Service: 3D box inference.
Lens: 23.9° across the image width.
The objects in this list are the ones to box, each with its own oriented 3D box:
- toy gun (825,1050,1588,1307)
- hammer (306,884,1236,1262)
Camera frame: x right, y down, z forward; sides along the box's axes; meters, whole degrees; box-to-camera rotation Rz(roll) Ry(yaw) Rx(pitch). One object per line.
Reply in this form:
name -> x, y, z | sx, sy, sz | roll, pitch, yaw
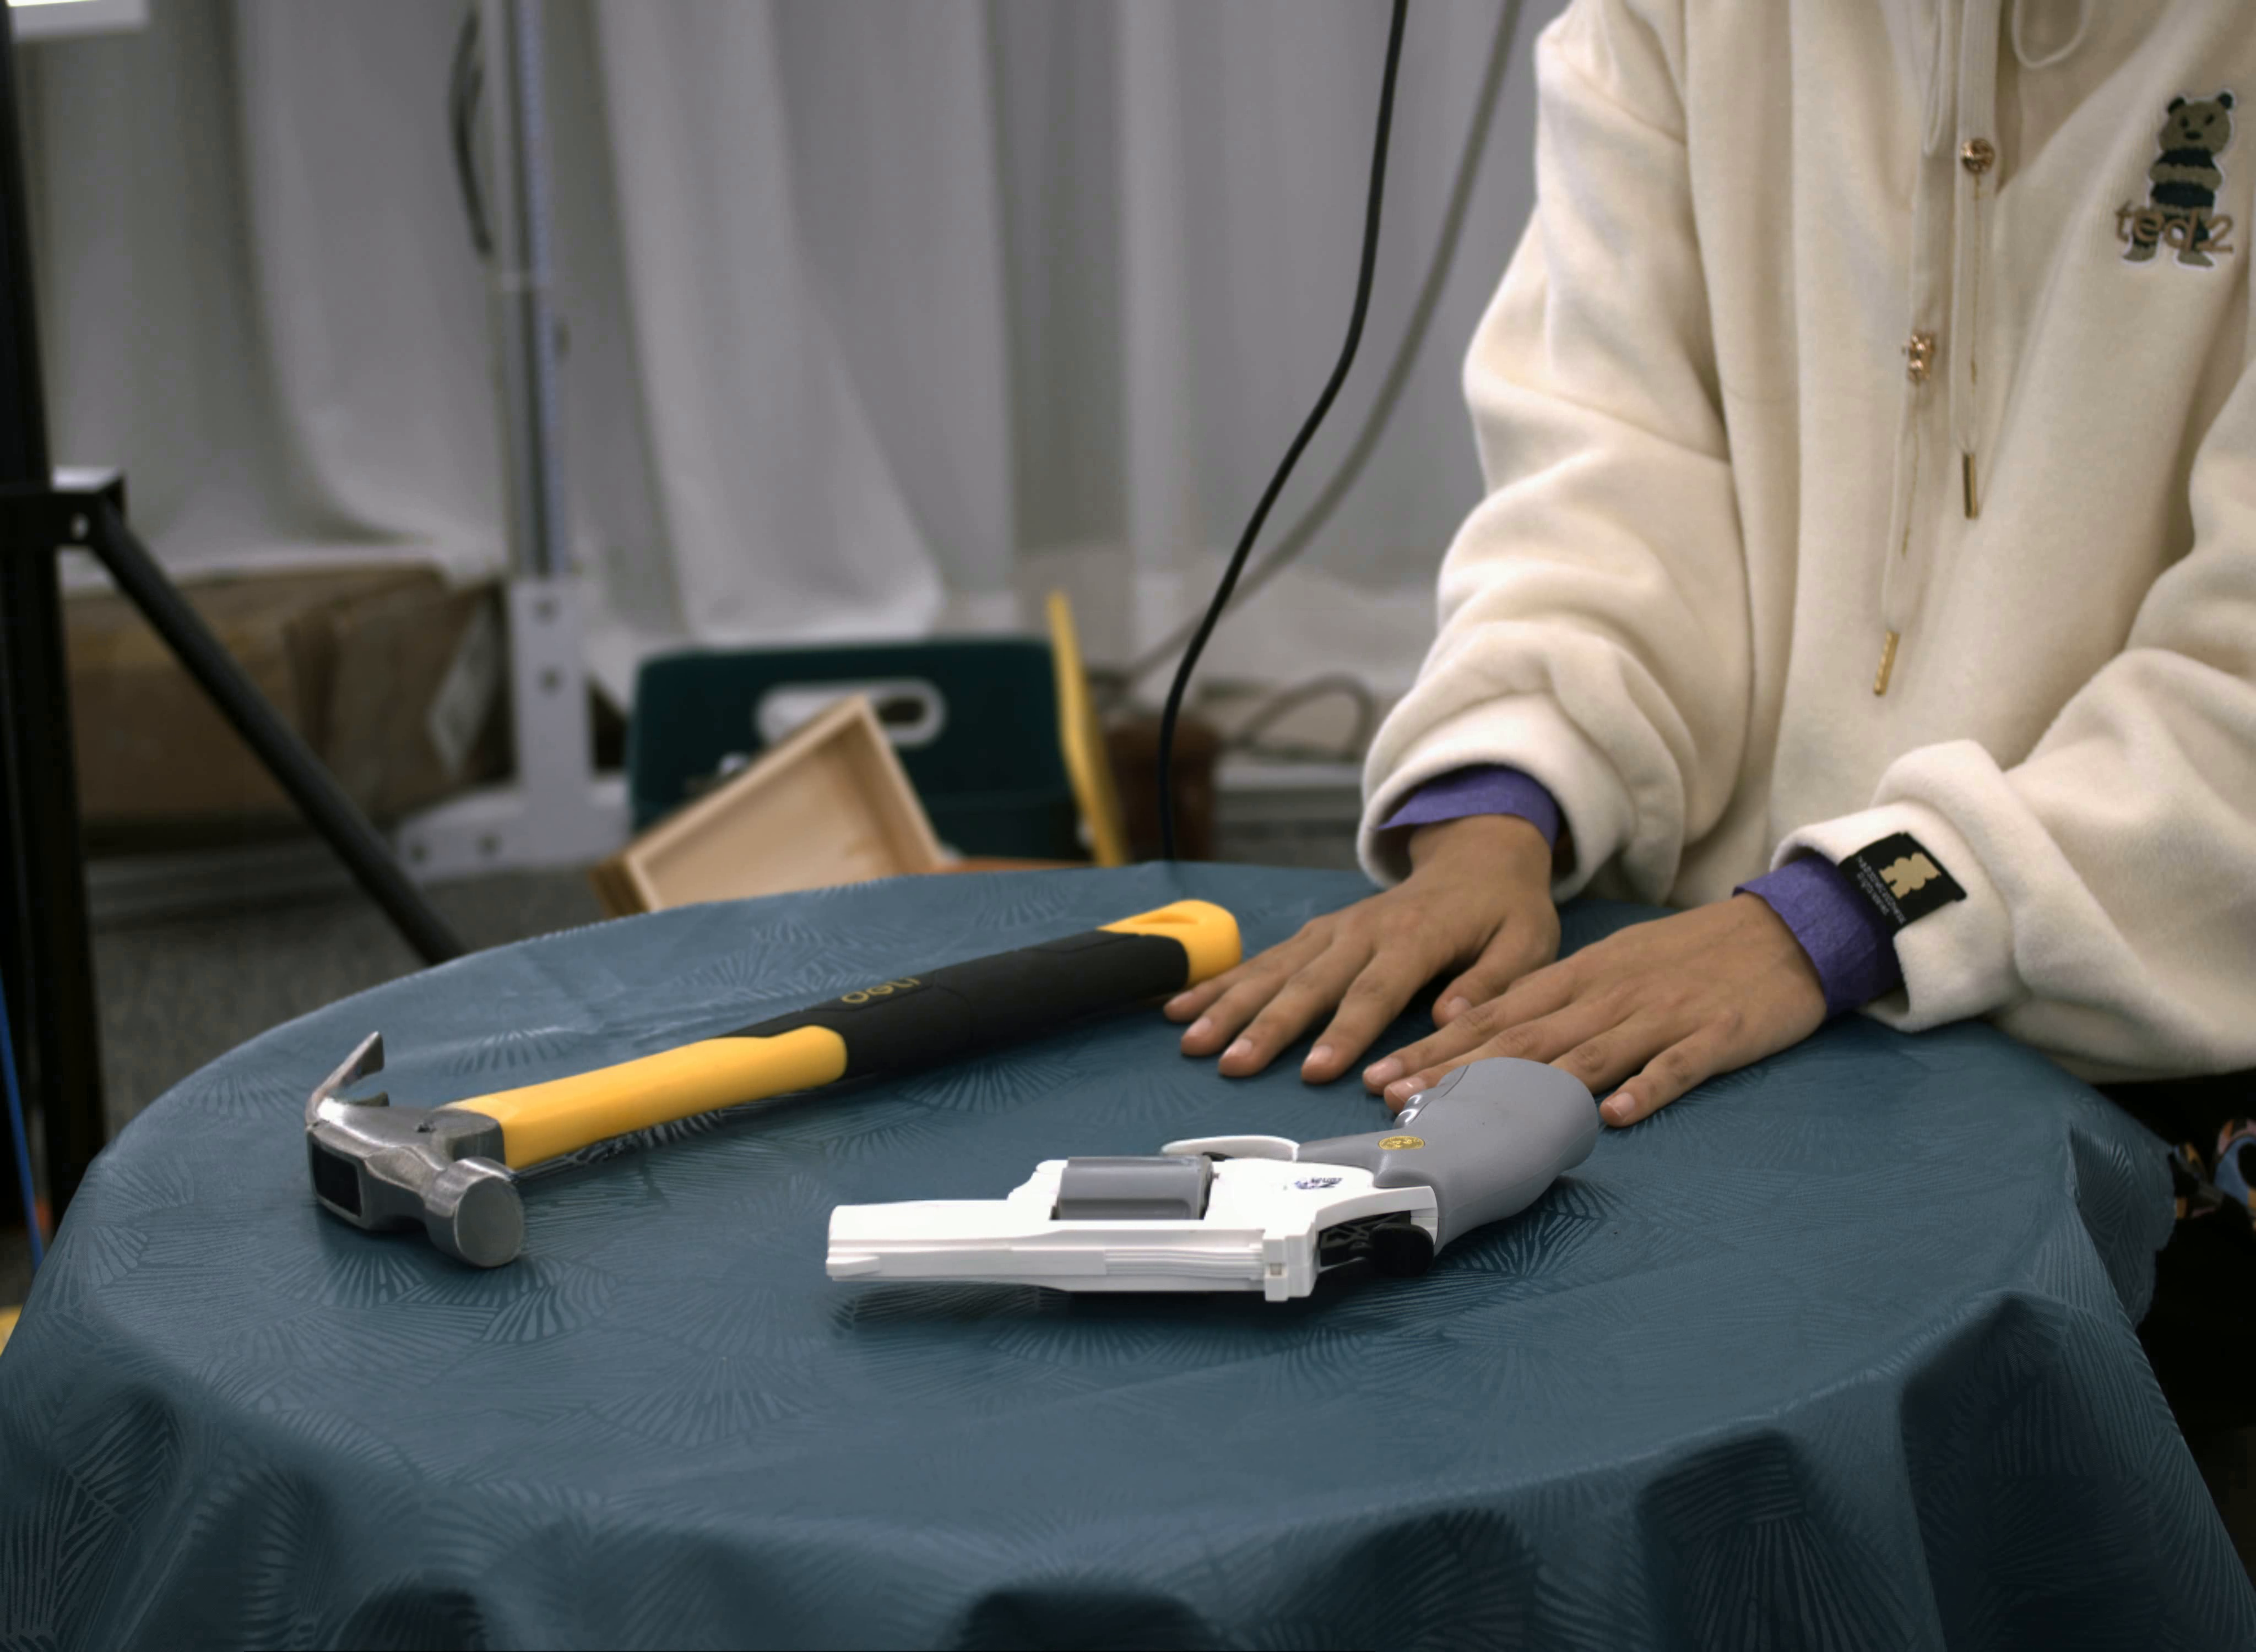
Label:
toy gun -> 0.025, 0.102, 1.504 | 0.209, 0.039, 0.141 | -1, 17, 8
hammer -> -0.102, 0.066, 1.654 | 0.331, 0.032, 0.134 | -16, 18, -35
